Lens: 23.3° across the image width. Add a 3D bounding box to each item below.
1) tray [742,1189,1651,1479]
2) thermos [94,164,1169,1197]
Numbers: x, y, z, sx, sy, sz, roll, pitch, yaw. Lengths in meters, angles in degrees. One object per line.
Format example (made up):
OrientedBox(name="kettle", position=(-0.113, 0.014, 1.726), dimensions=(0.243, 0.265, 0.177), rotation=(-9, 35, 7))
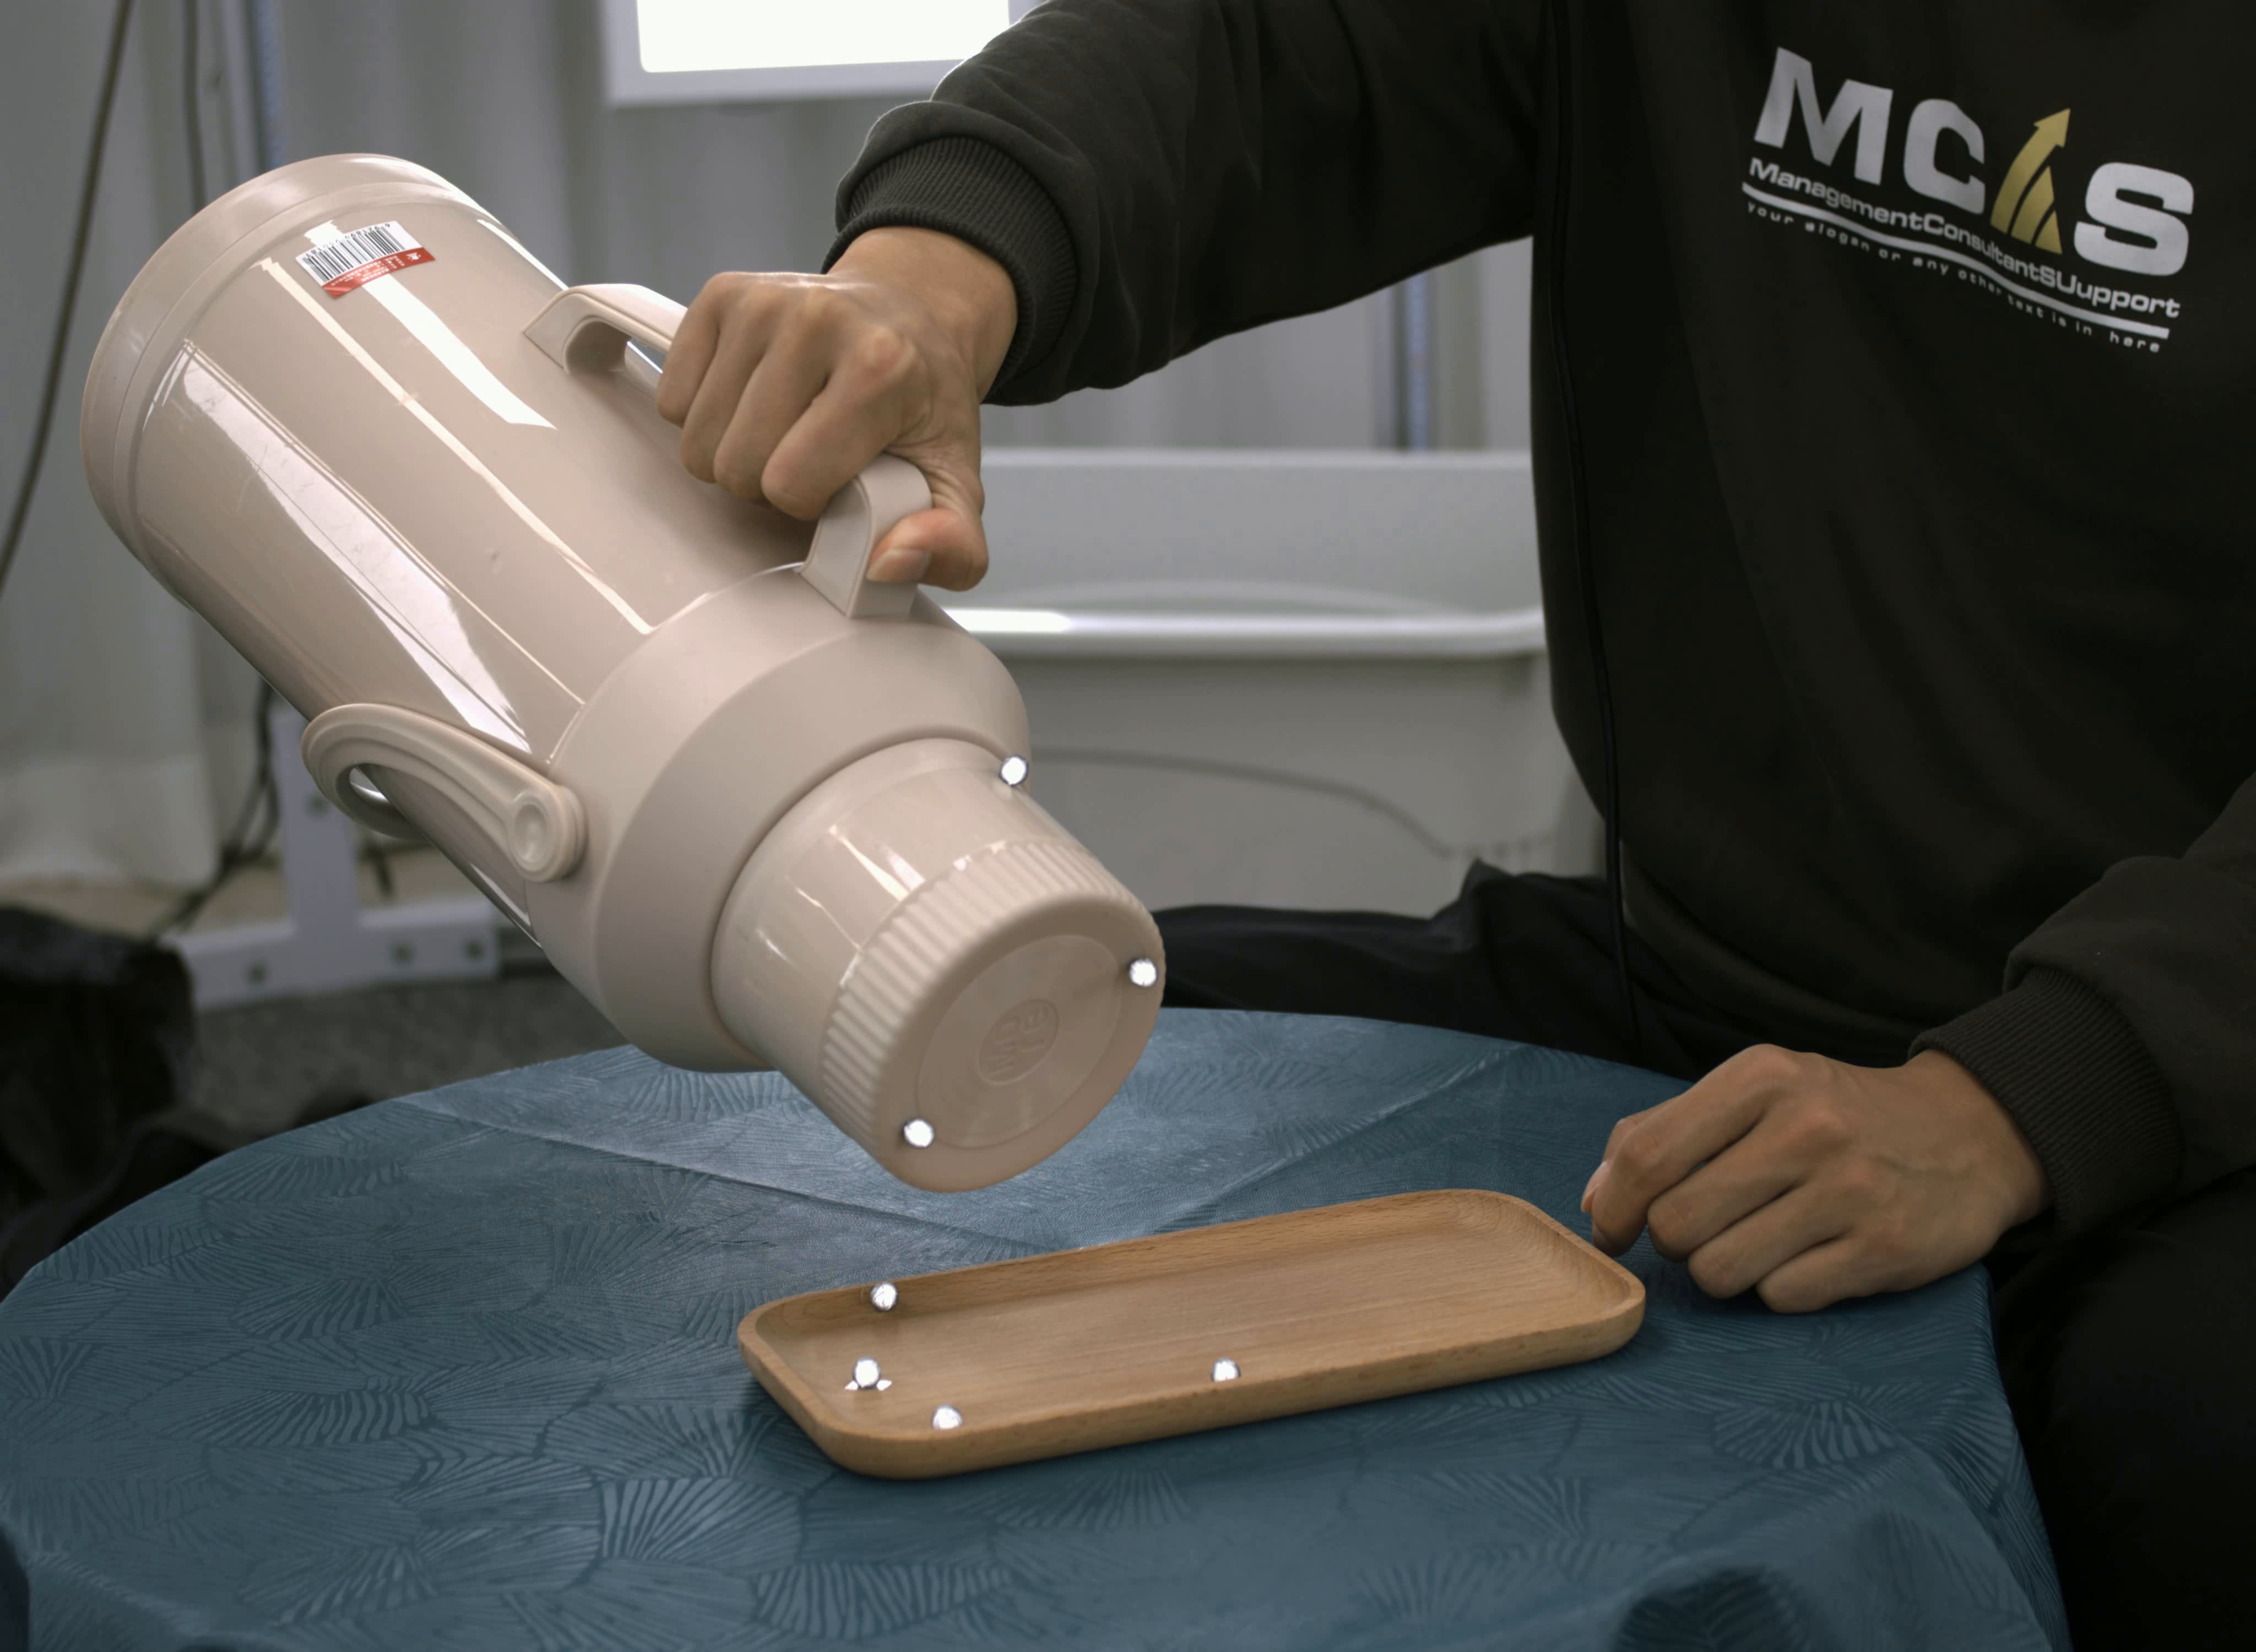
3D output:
OrientedBox(name="tray", position=(0.020, 0.145, 1.572), dimensions=(0.249, 0.023, 0.132), rotation=(-7, 18, -18))
OrientedBox(name="thermos", position=(-0.144, -0.055, 1.660), dimensions=(0.174, 0.205, 0.411), rotation=(-5, 35, -41))
